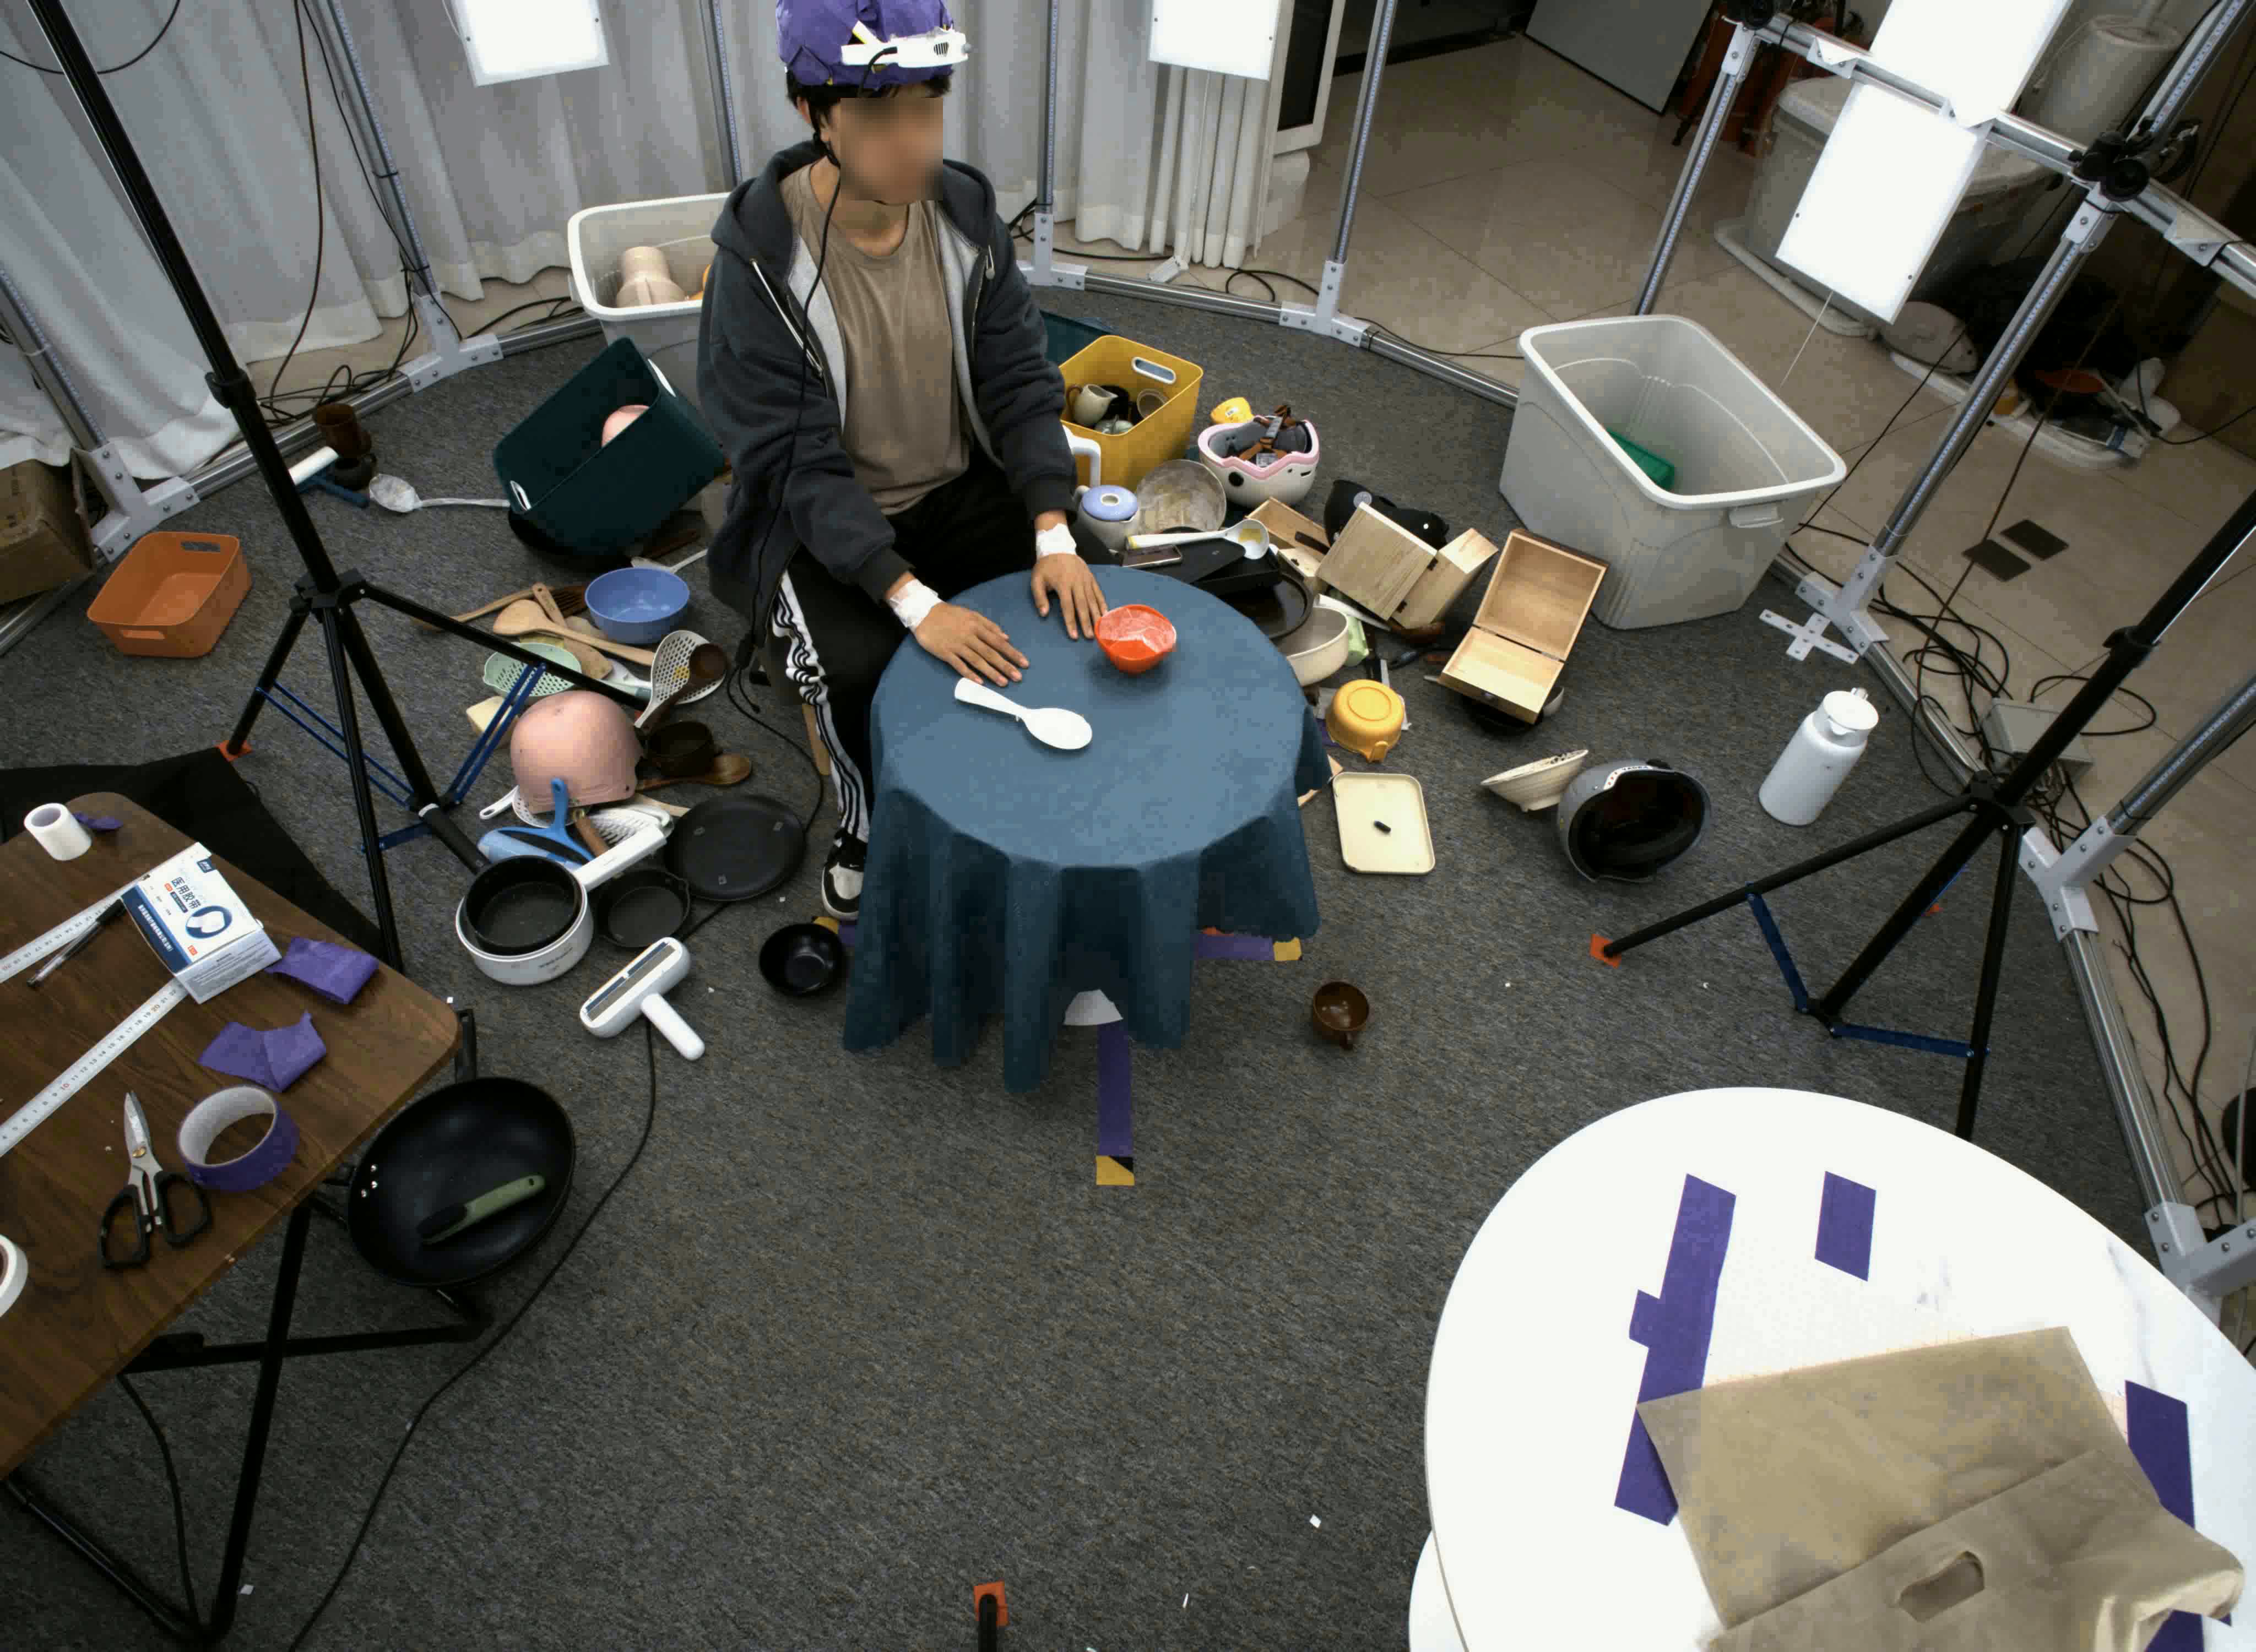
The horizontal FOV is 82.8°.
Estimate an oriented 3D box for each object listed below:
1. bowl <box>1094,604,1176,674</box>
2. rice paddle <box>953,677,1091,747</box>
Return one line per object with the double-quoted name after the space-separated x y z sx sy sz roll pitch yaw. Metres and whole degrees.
0.009 -0.266 1.863 0.119 0.050 0.122 2 50 -3 "bowl"
-0.145 -0.158 1.774 0.206 0.029 0.070 22 52 14 "rice paddle"
